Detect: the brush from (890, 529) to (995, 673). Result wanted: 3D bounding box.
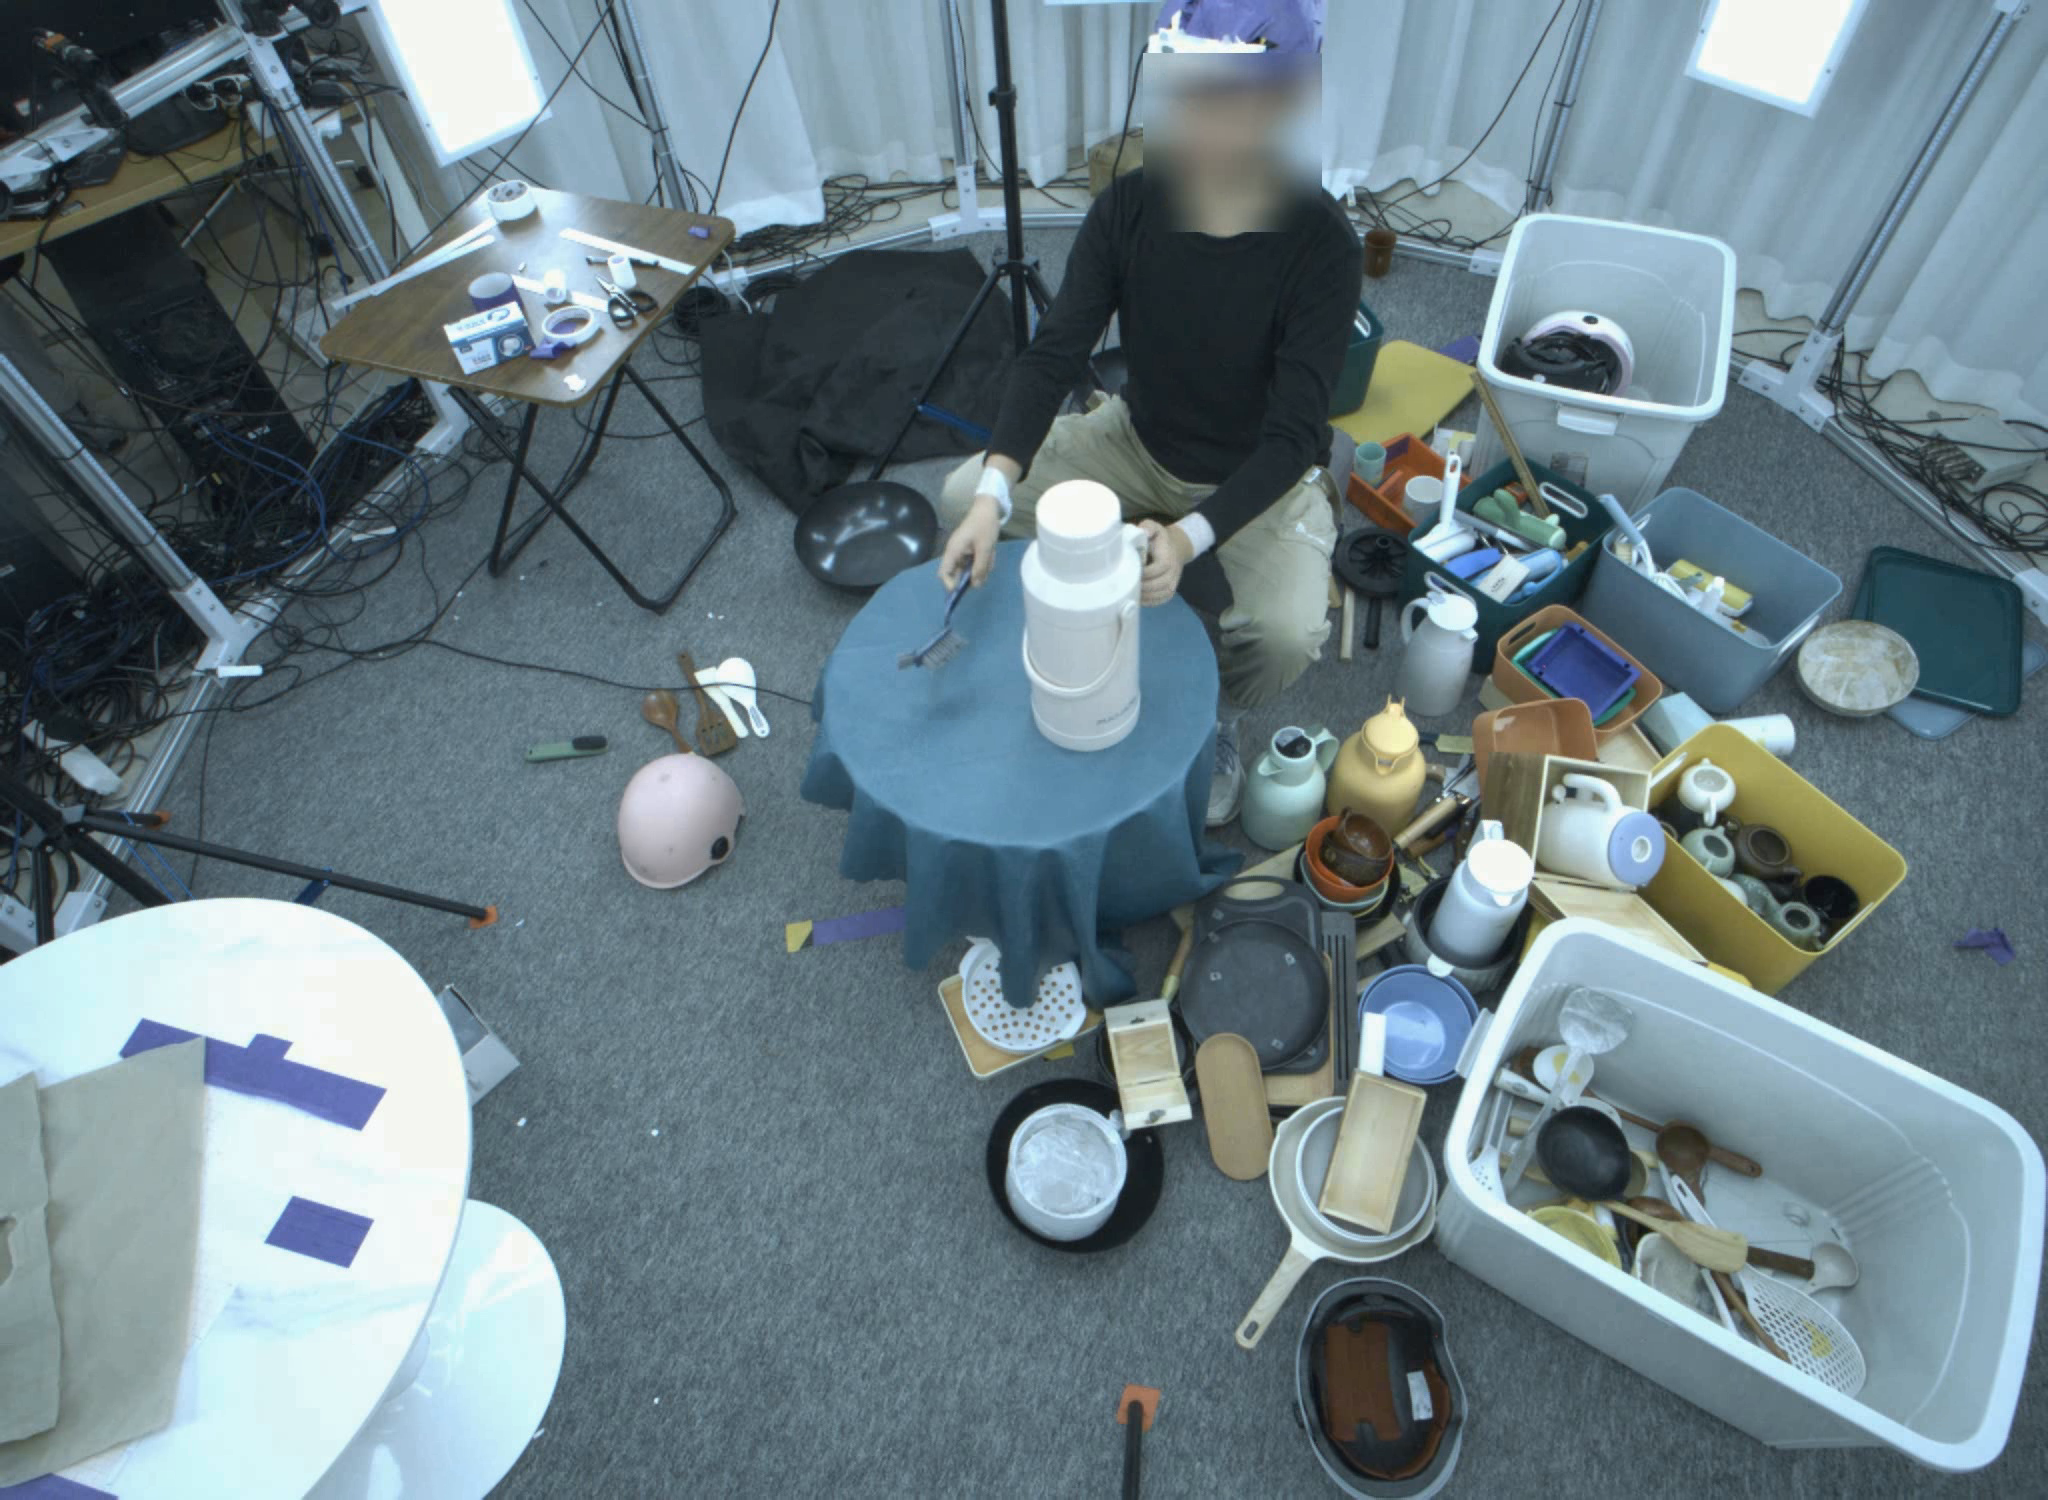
[{"bbox_3d":[-0.115,-0.228,1.832,0.095,0.034,0.272,15,59,7],"label":"brush"}]

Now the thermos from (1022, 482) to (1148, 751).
[{"bbox_3d":[0.092,-0.185,1.671,0.172,0.411,0.208,36,64,27],"label":"thermos"}]
